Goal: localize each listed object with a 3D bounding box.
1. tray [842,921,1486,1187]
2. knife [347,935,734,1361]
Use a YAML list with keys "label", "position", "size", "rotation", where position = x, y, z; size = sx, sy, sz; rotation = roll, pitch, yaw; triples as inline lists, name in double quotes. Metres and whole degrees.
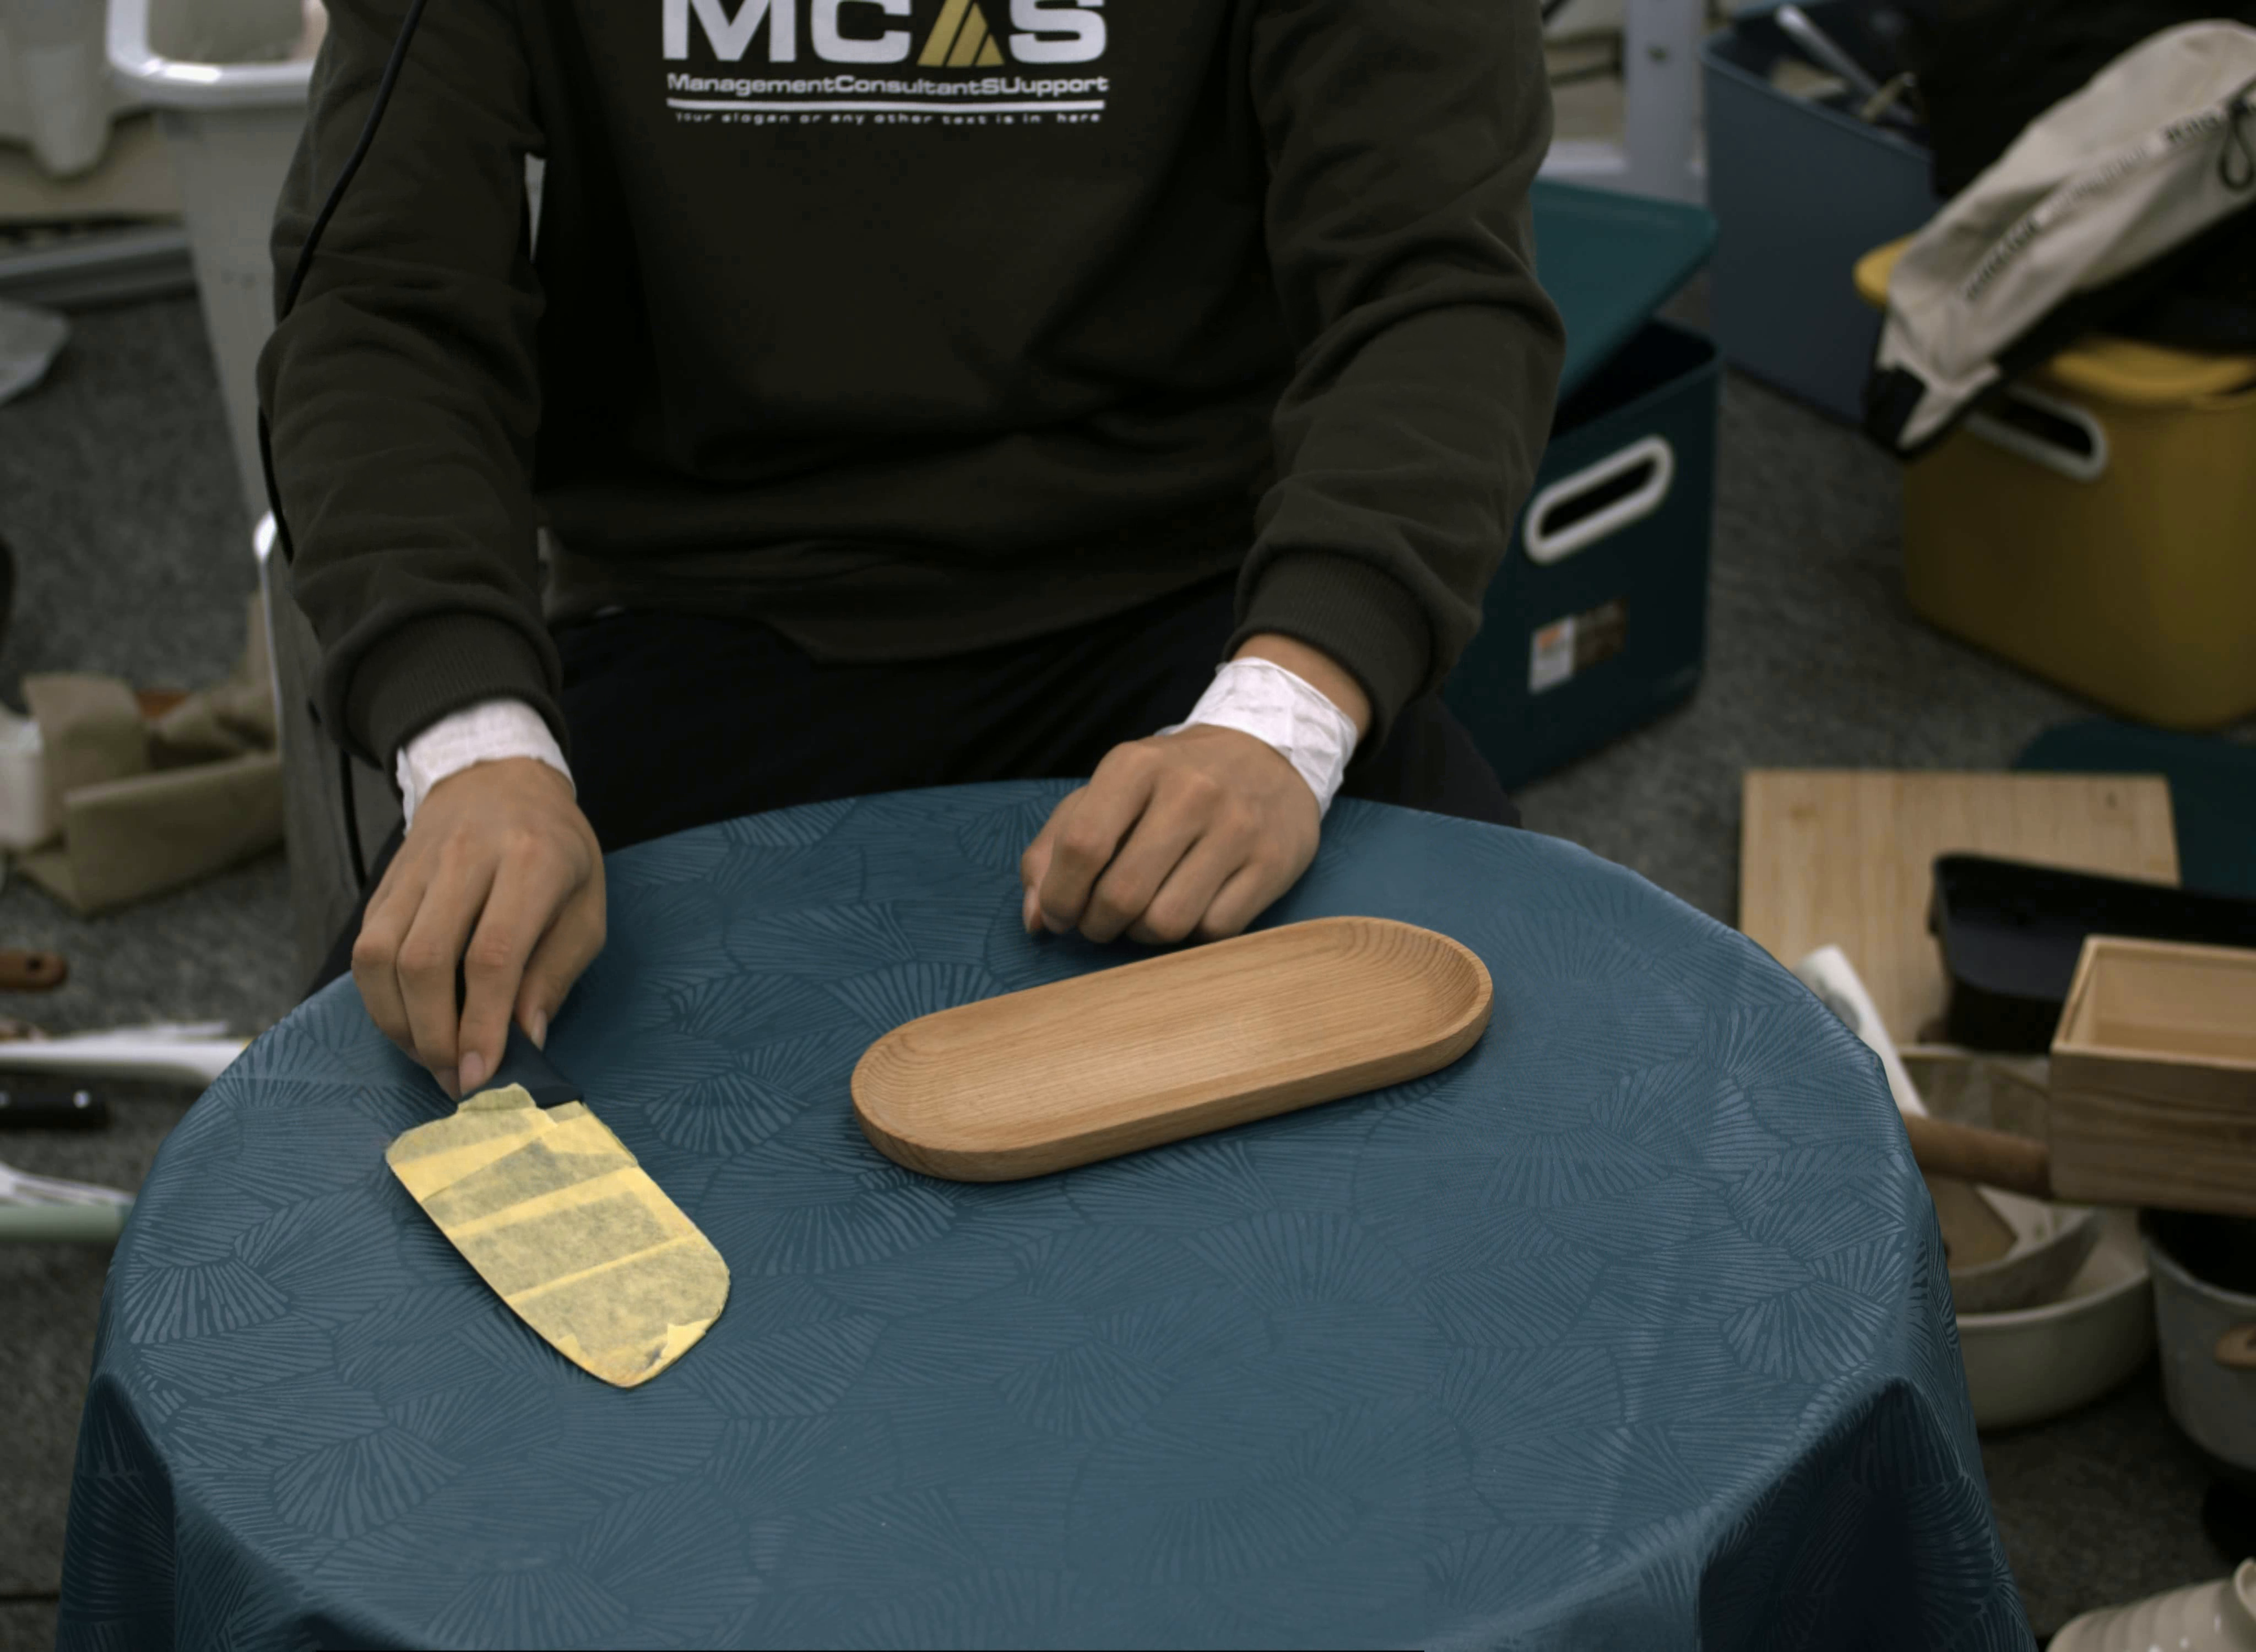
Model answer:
- label: "tray"
  position: [0.013, 0.078, 1.927]
  size: [0.232, 0.020, 0.102]
  rotation: [-15, 28, -19]
- label: "knife"
  position: [-0.211, 0.108, 1.887]
  size: [0.081, 0.027, 0.291]
  rotation: [-11, 30, -25]
